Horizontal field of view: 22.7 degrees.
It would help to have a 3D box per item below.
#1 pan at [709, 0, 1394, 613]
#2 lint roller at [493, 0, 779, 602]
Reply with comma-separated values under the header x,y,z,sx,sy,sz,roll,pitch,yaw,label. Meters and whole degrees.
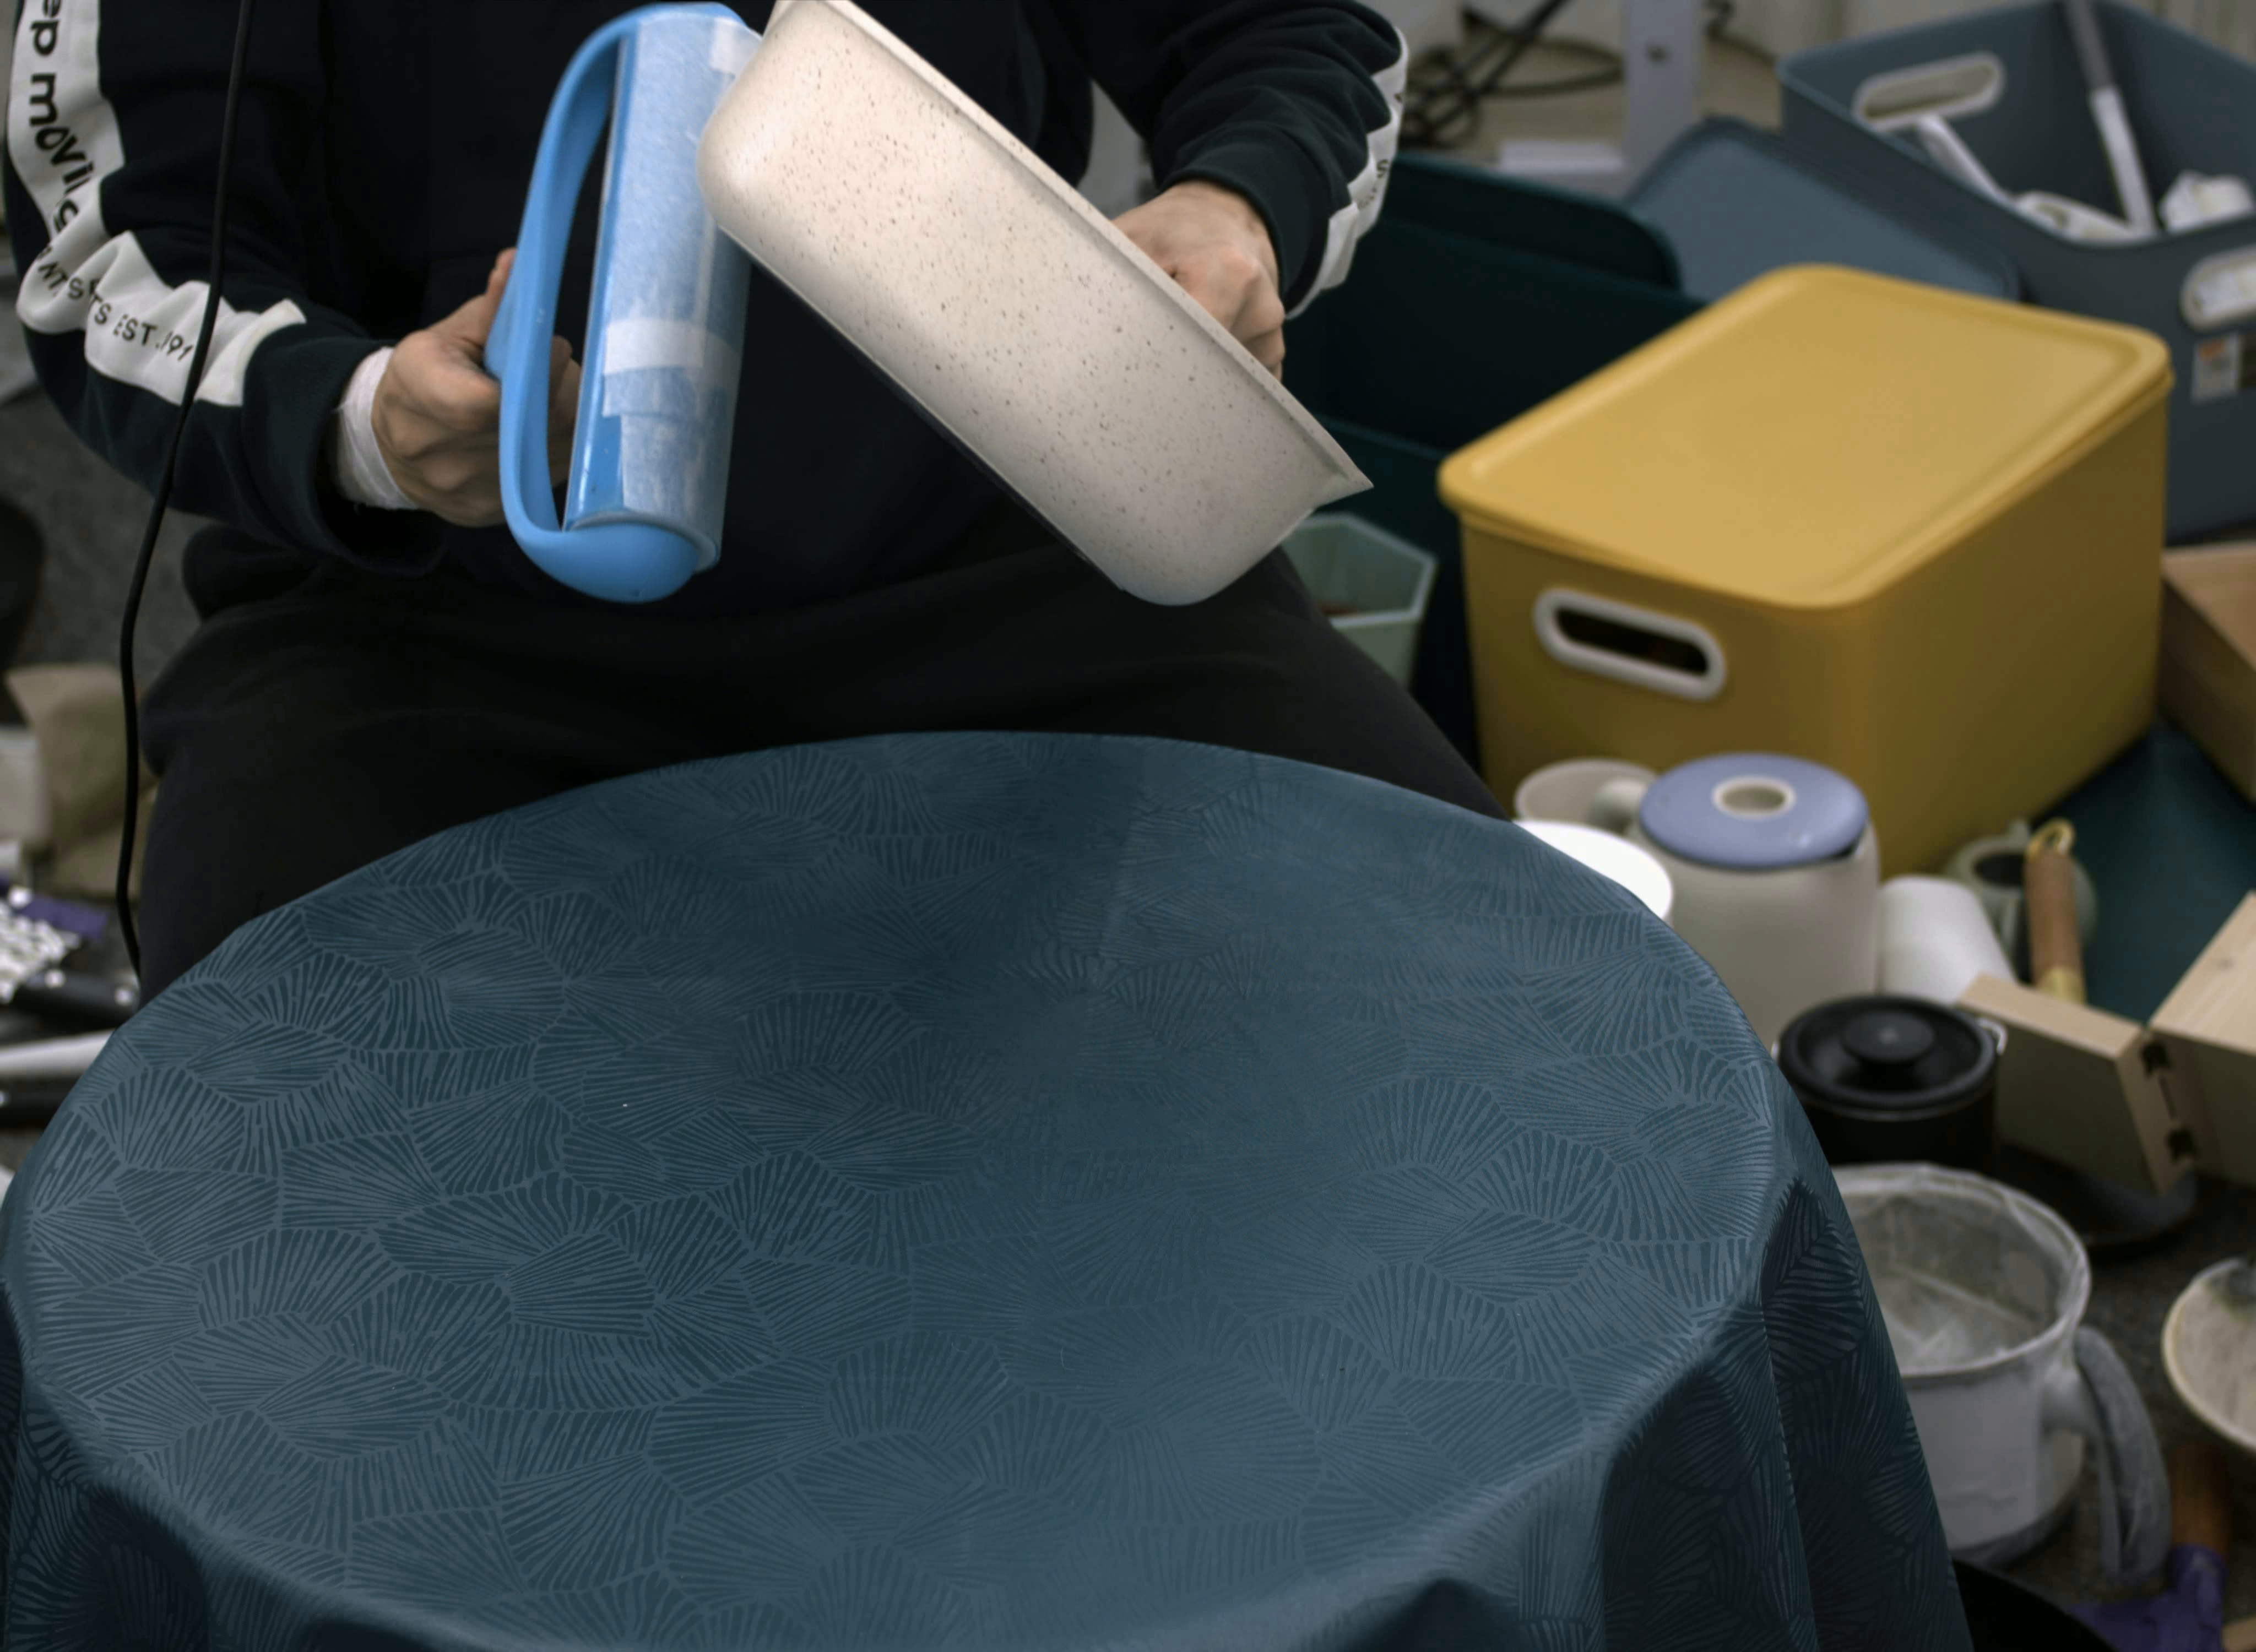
x,y,z,sx,sy,sz,roll,pitch,yaw,label
-0.024,-0.166,1.971,0.263,0.102,0.434,40,0,6,pan
-0.189,-0.163,1.981,0.068,0.233,0.177,19,-31,-31,lint roller
